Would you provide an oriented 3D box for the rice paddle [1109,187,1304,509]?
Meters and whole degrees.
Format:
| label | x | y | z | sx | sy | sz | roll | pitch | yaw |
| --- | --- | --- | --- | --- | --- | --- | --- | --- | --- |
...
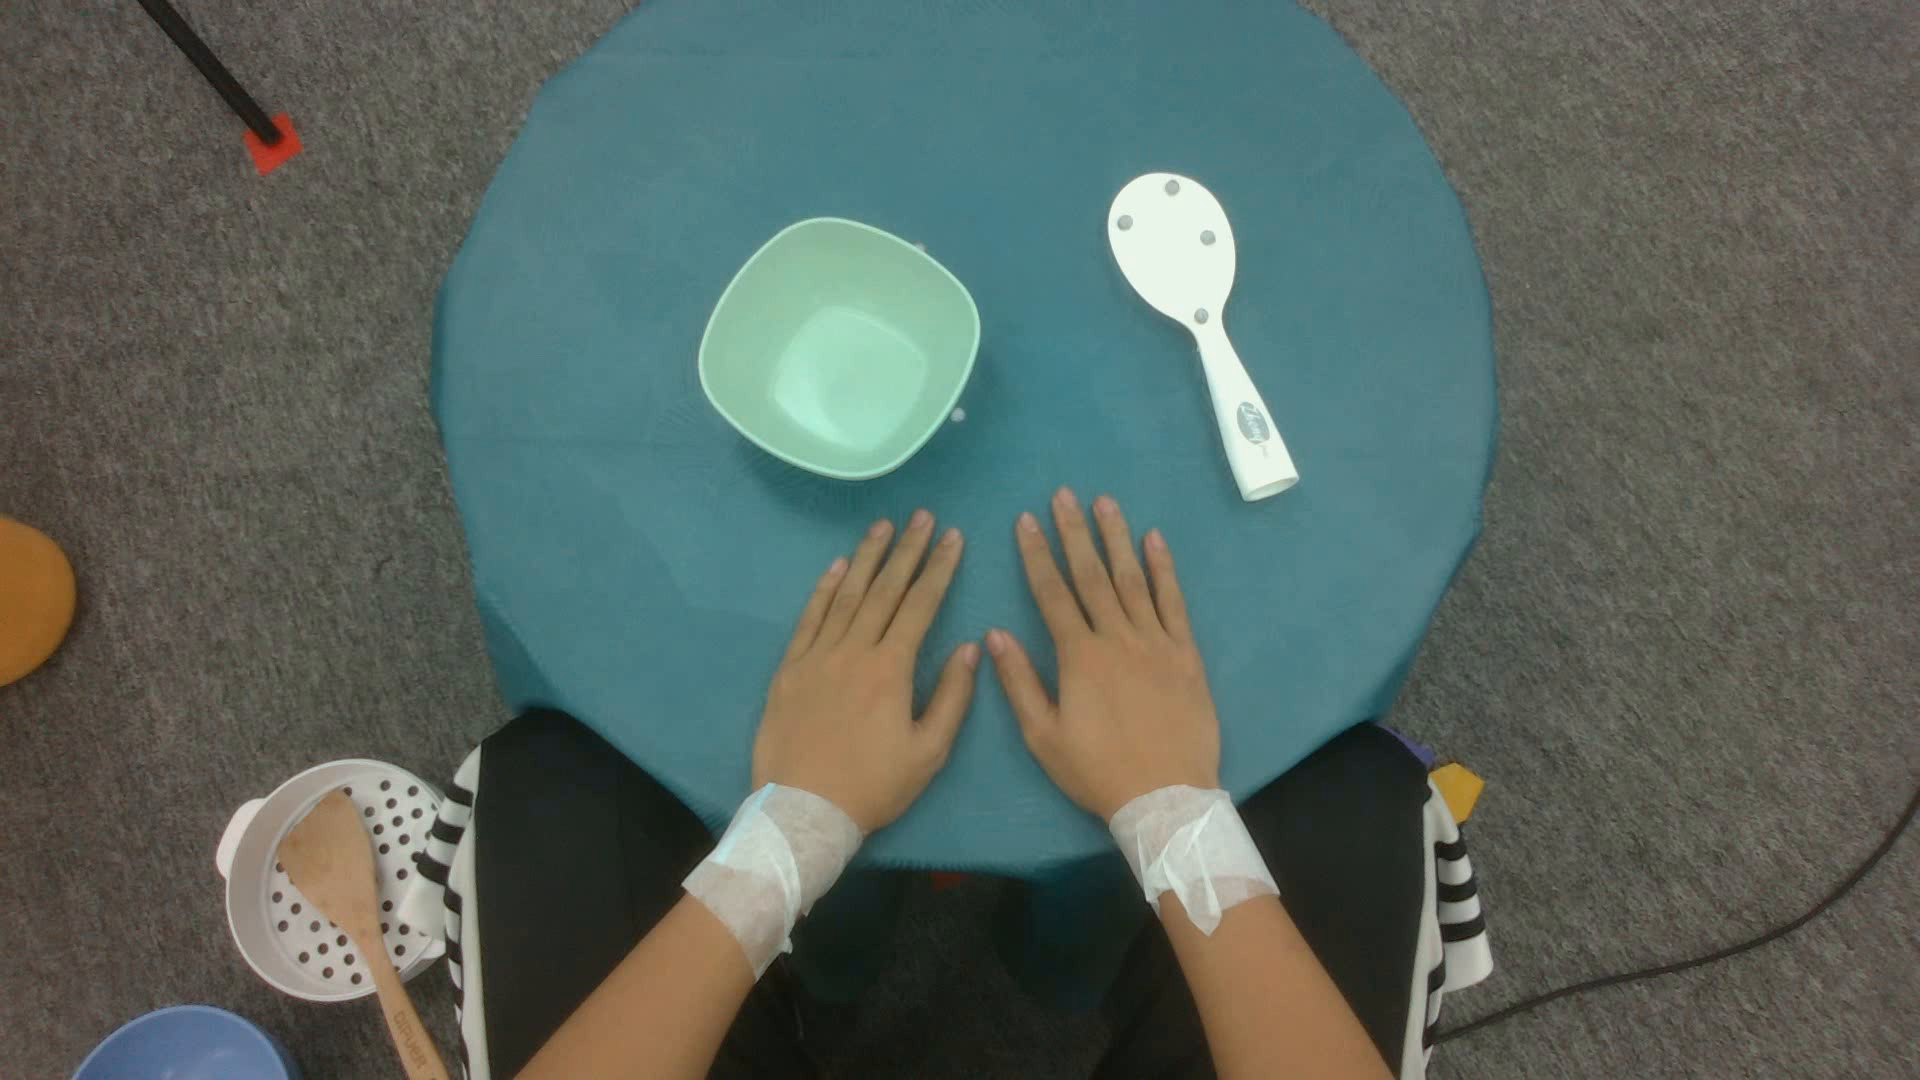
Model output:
| label | x | y | z | sx | sy | sz | roll | pitch | yaw |
| --- | --- | --- | --- | --- | --- | --- | --- | --- | --- |
| rice paddle | 0.141 | -0.116 | 0.784 | 0.069 | 0.029 | 0.205 | -18 | 74 | -6 |

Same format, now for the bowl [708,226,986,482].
| label | x | y | z | sx | sy | sz | roll | pitch | yaw |
| --- | --- | --- | --- | --- | --- | --- | --- | --- | --- |
| bowl | -0.061 | -0.095 | 0.766 | 0.151 | 0.058 | 0.152 | 1 | 72 | -2 |
